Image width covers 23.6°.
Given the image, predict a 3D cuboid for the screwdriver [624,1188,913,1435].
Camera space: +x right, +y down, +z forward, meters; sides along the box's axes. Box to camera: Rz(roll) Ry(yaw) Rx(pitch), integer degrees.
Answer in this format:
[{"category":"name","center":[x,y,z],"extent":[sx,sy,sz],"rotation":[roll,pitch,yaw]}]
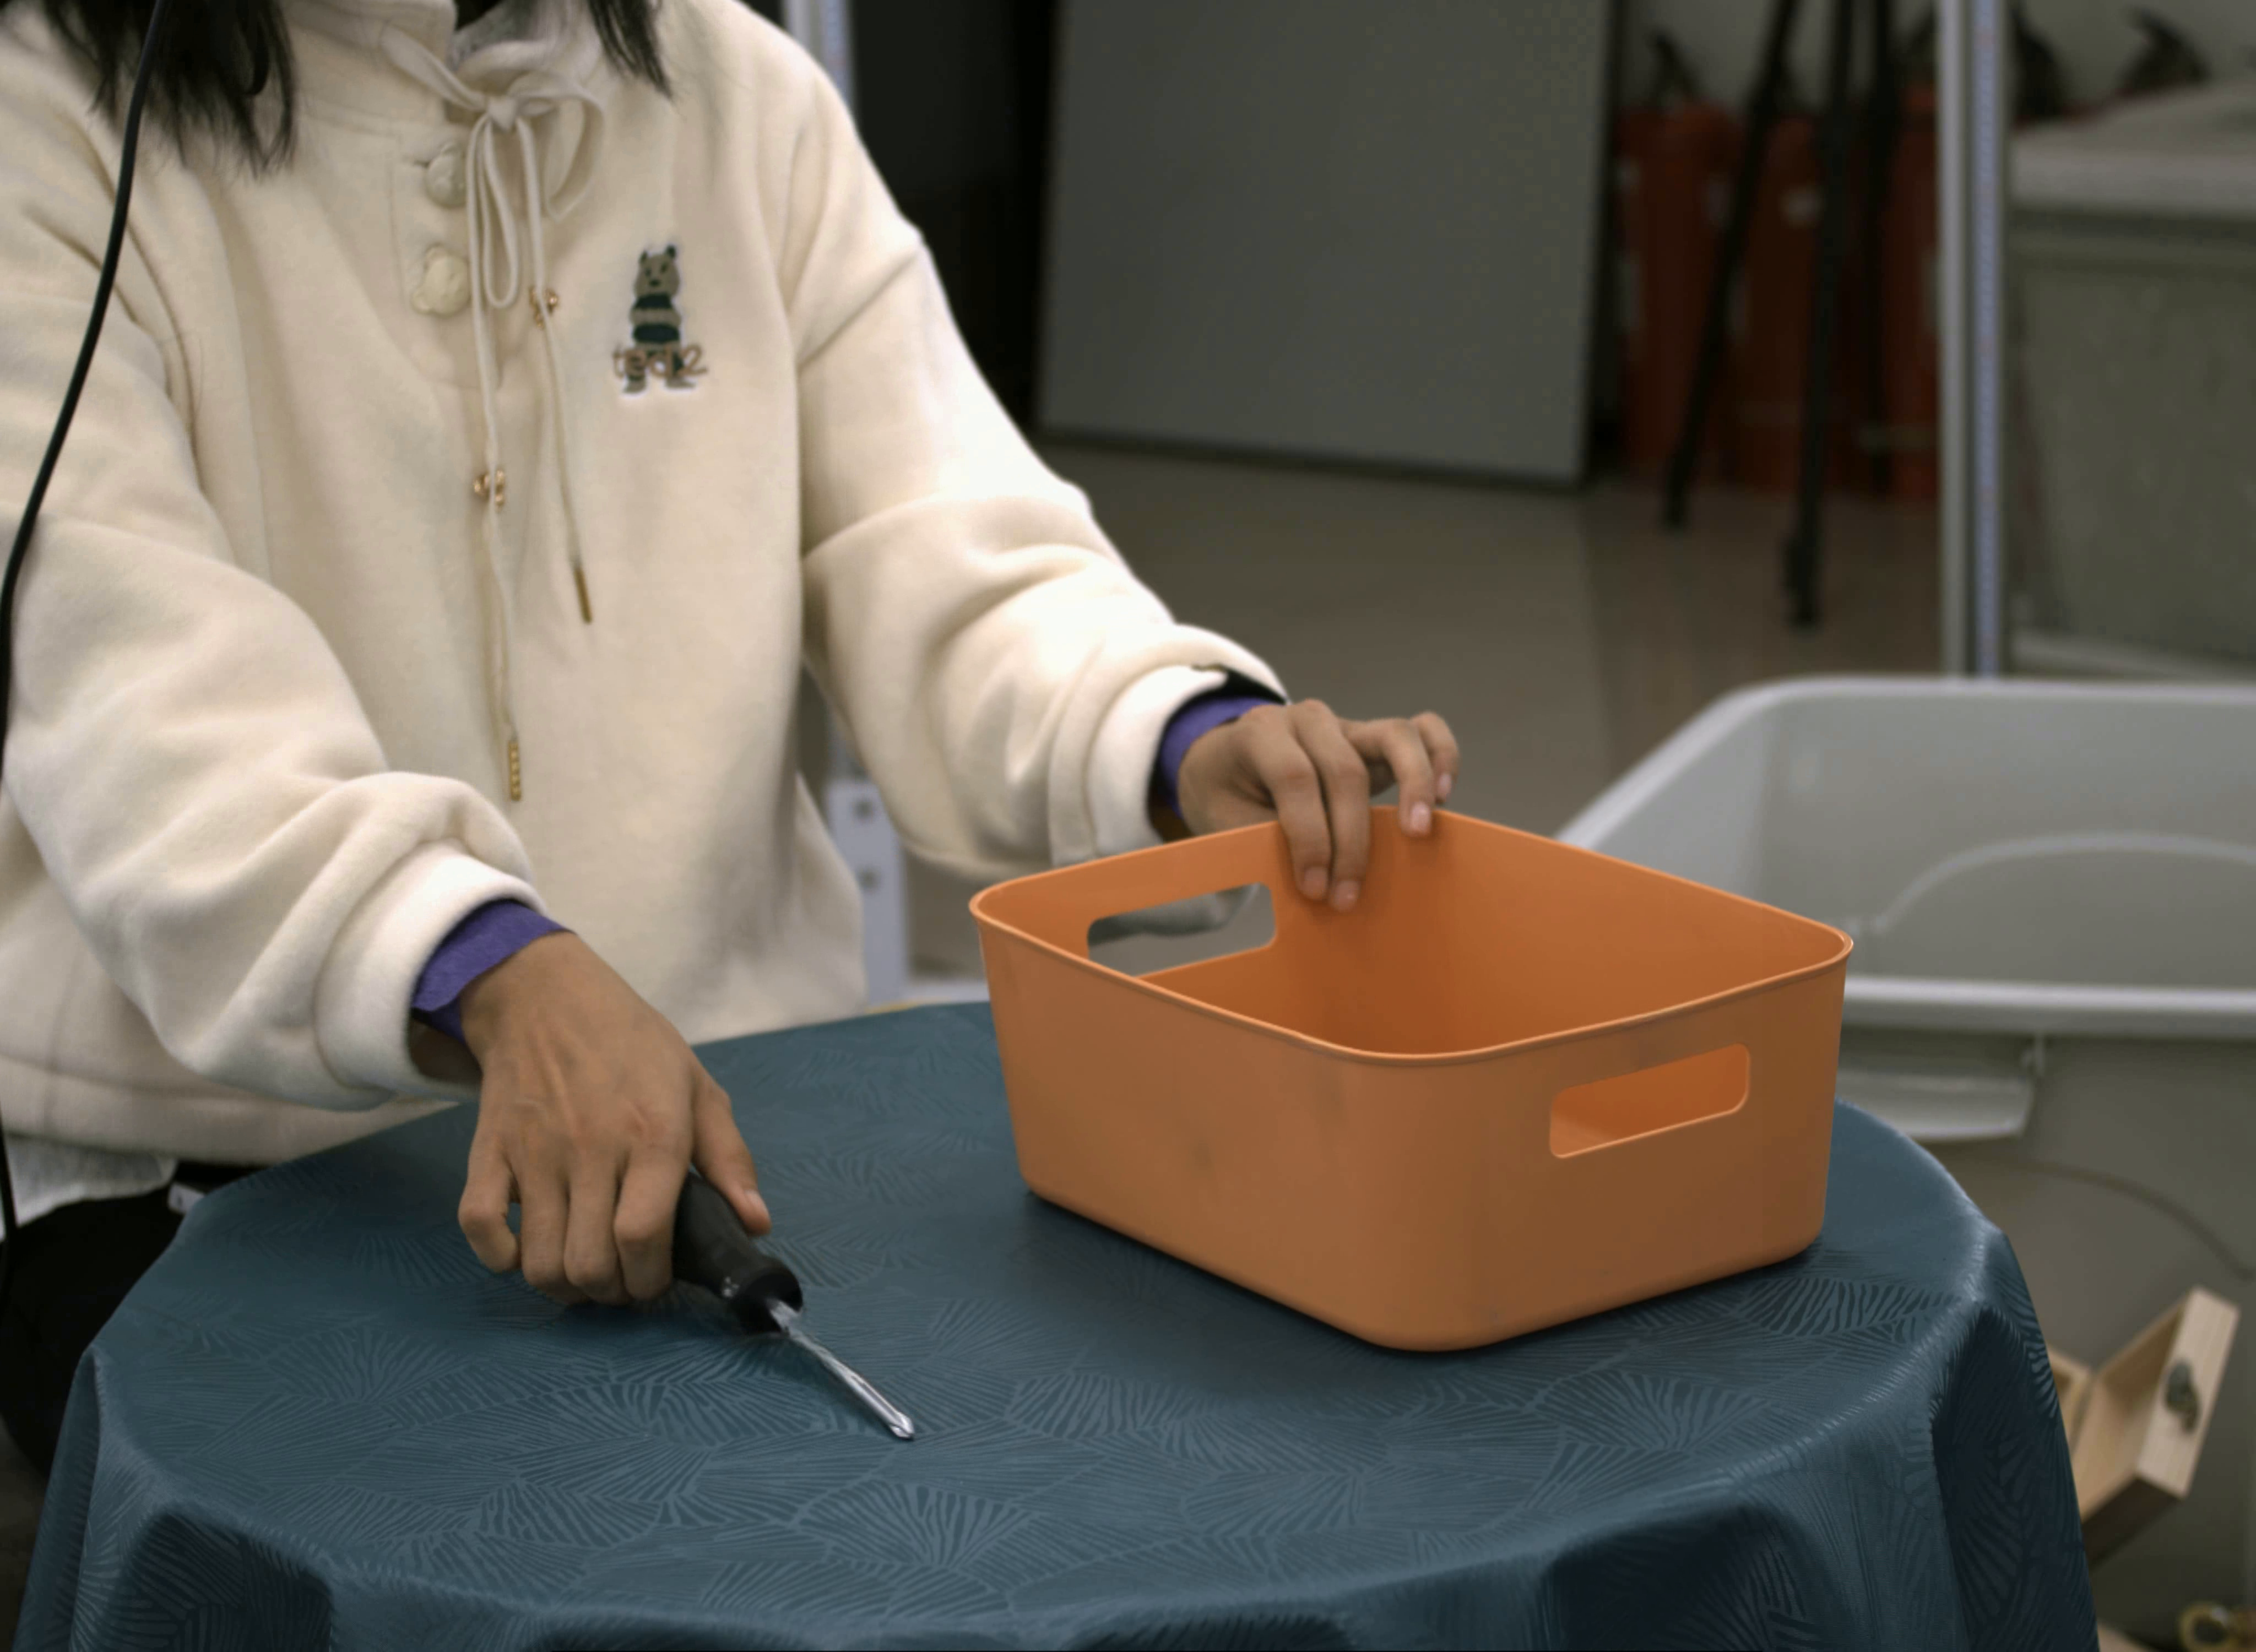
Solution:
[{"category":"screwdriver","center":[-0.109,0.152,1.637],"extent":[0.031,0.032,0.198],"rotation":[-9,21,-23]}]

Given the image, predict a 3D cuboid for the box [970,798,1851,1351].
[{"category":"box","center":[0.089,0.075,1.709],"extent":[0.195,0.103,0.276],"rotation":[-13,17,-30]}]
